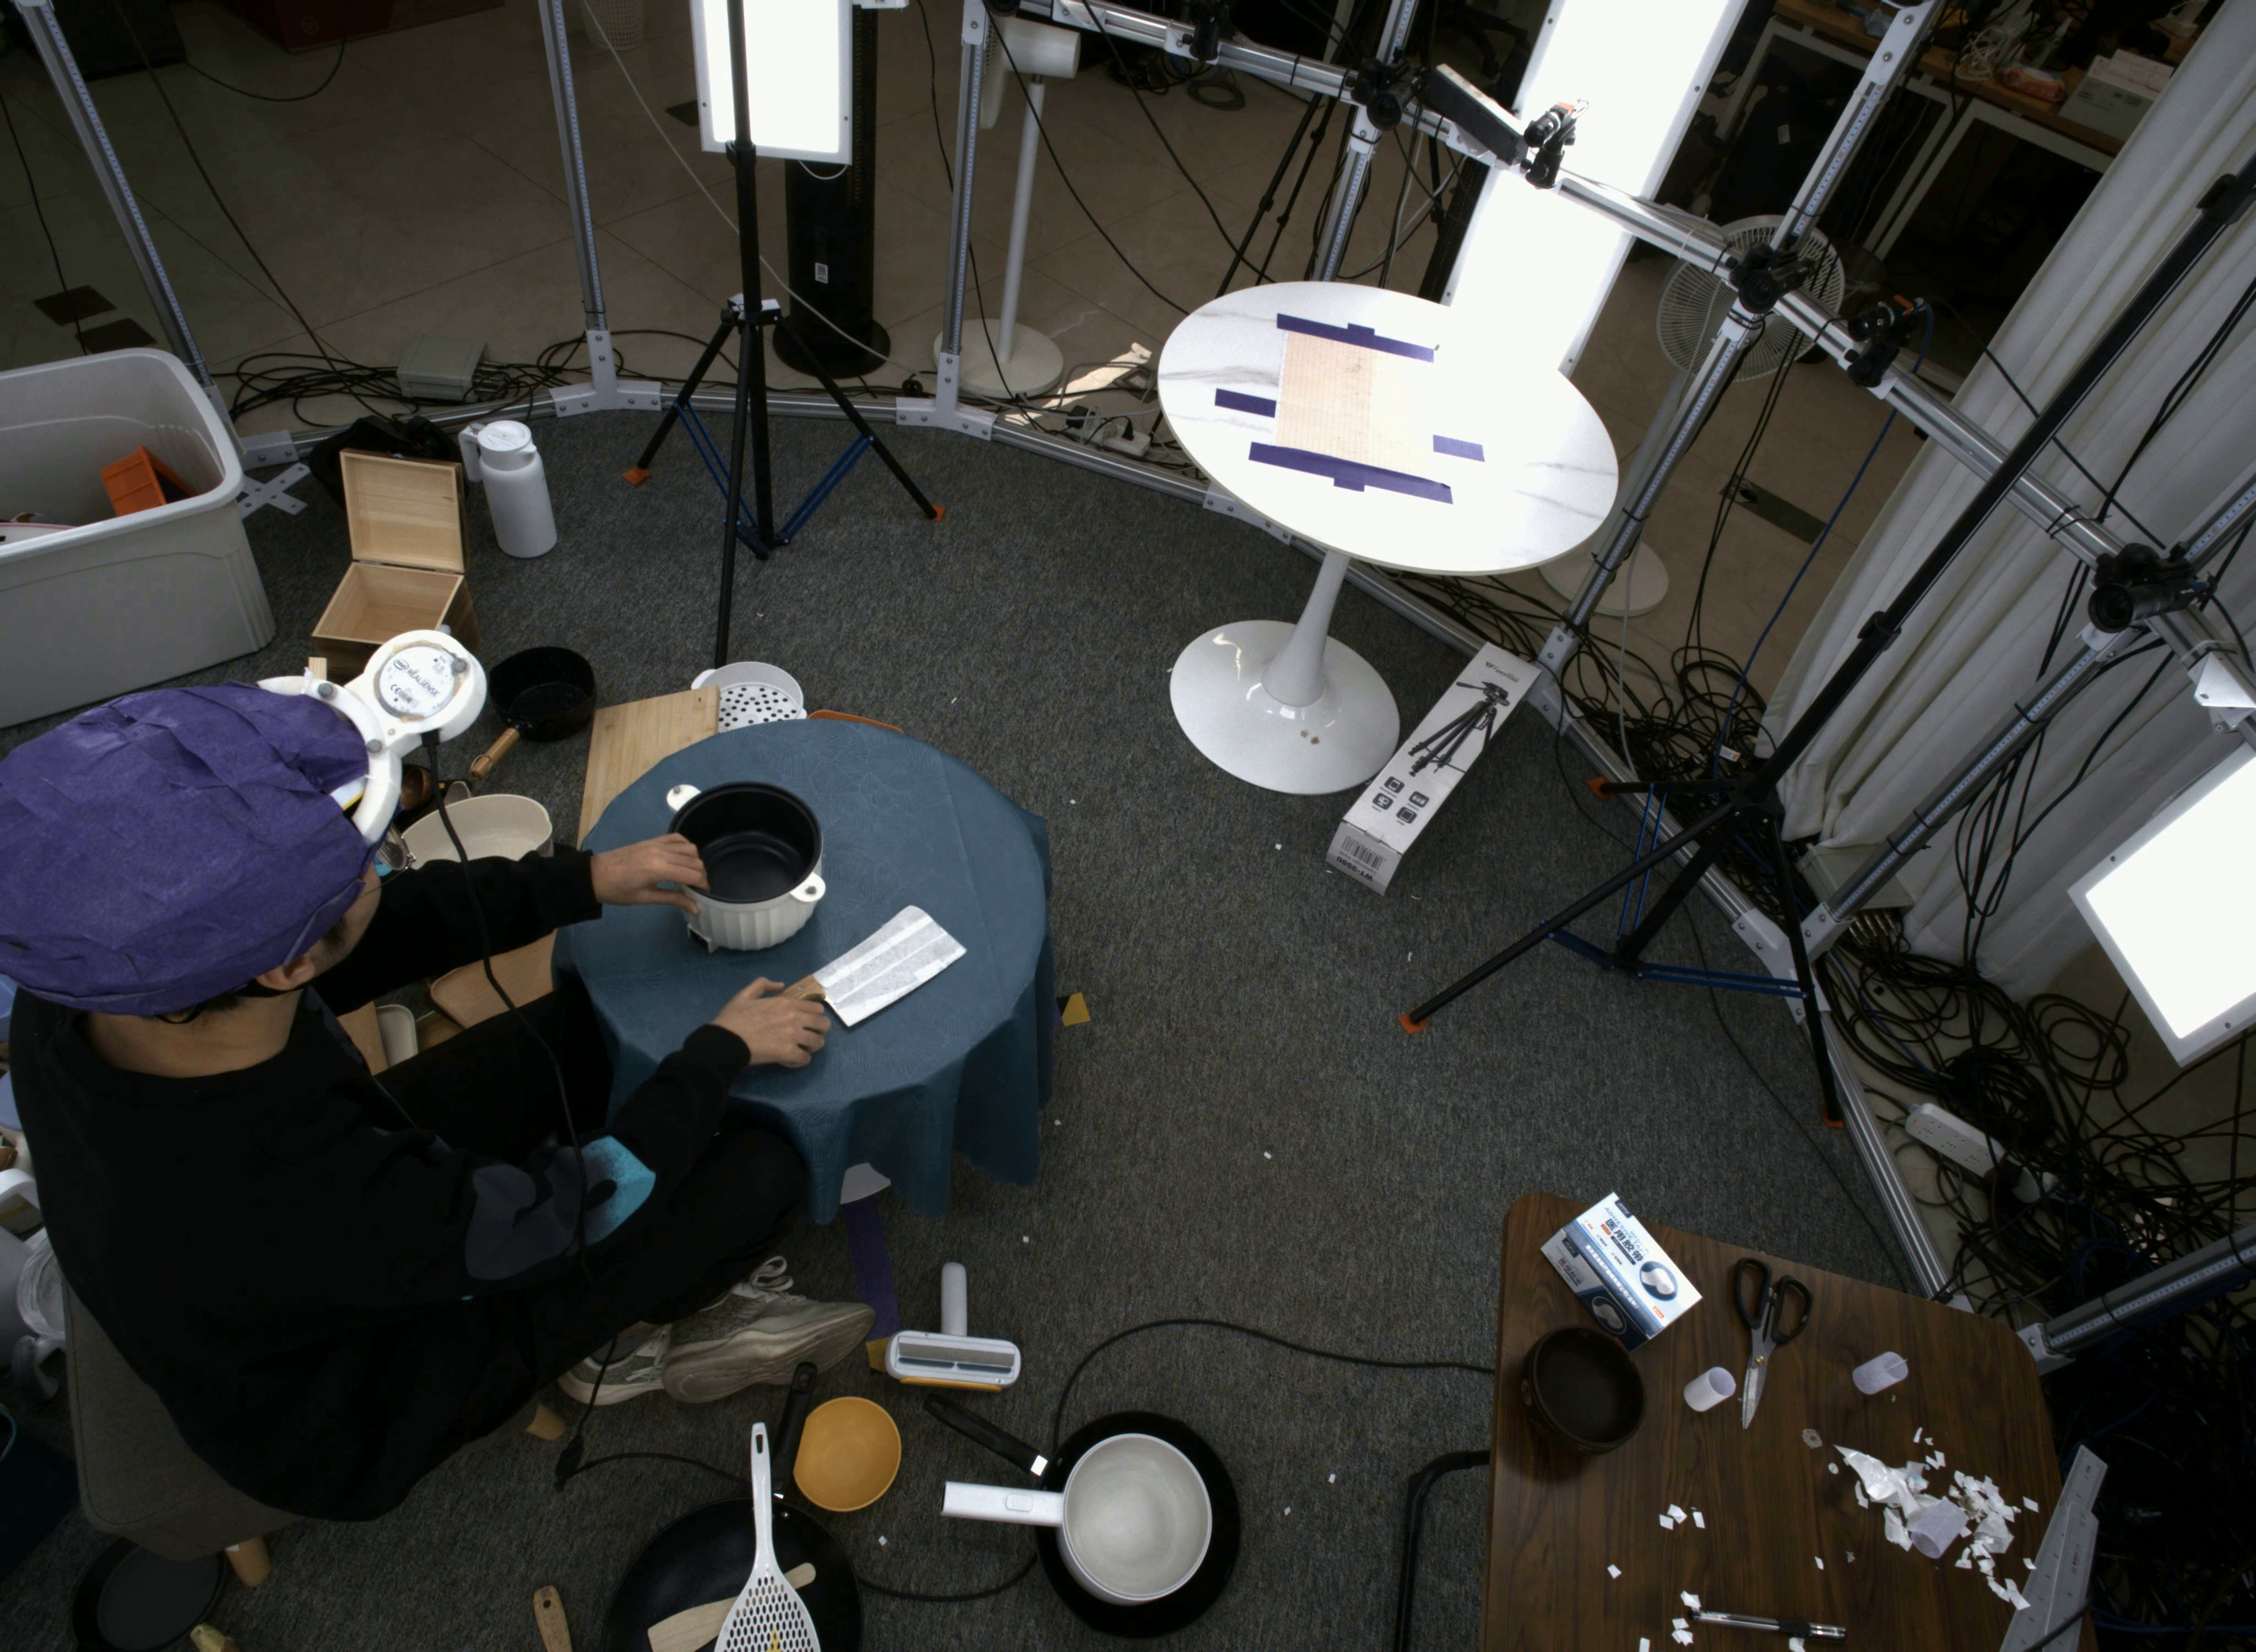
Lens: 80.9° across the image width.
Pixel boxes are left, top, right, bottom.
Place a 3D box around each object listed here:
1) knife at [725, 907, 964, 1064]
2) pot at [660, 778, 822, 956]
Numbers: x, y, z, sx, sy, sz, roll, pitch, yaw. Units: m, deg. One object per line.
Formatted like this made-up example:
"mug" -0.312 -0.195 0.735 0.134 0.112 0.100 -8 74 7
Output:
"knife" -0.346 0.192 1.579 0.317 0.022 0.111 -29 66 -34
"pot" -0.465 0.050 1.575 0.236 0.145 0.190 33 56 11
